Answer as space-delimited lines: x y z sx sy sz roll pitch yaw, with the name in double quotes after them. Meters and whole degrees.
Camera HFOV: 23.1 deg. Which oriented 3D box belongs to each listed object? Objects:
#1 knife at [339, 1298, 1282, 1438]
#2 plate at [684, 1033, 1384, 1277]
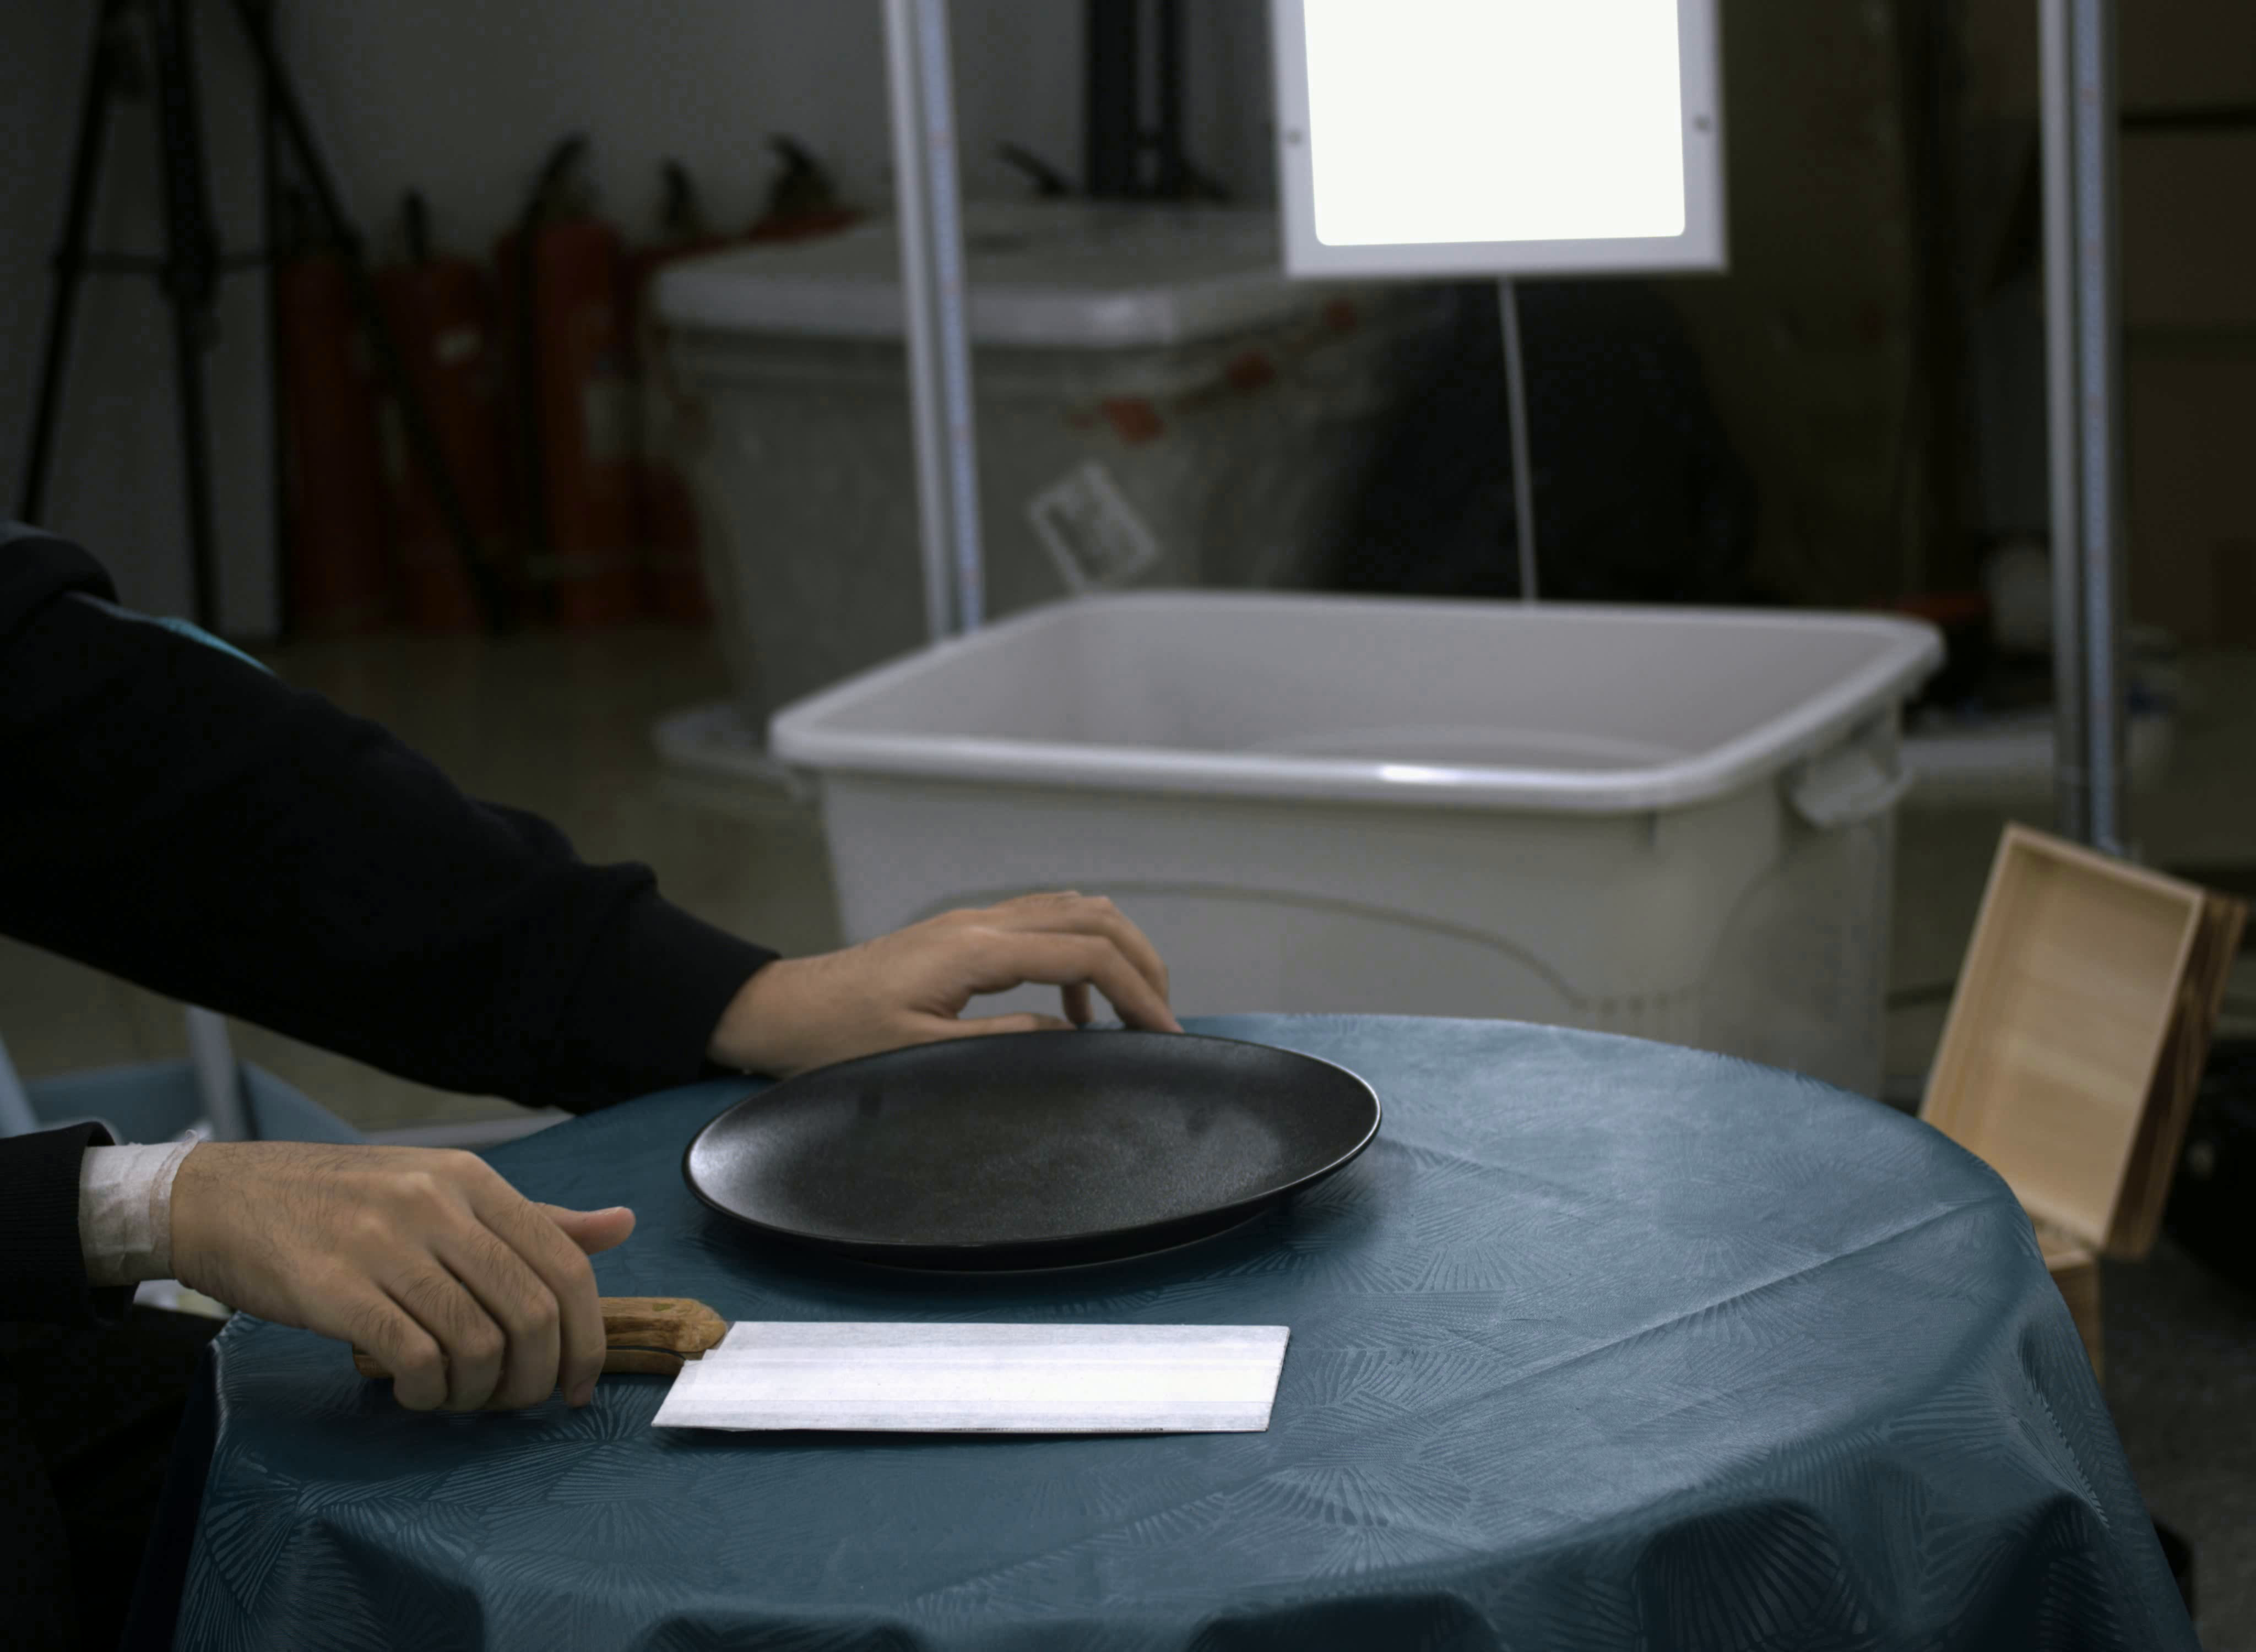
-0.104 0.171 1.723 0.307 0.021 0.092 -1 16 9 "knife"
-0.032 0.115 1.904 0.244 0.023 0.244 -5 14 0 "plate"
